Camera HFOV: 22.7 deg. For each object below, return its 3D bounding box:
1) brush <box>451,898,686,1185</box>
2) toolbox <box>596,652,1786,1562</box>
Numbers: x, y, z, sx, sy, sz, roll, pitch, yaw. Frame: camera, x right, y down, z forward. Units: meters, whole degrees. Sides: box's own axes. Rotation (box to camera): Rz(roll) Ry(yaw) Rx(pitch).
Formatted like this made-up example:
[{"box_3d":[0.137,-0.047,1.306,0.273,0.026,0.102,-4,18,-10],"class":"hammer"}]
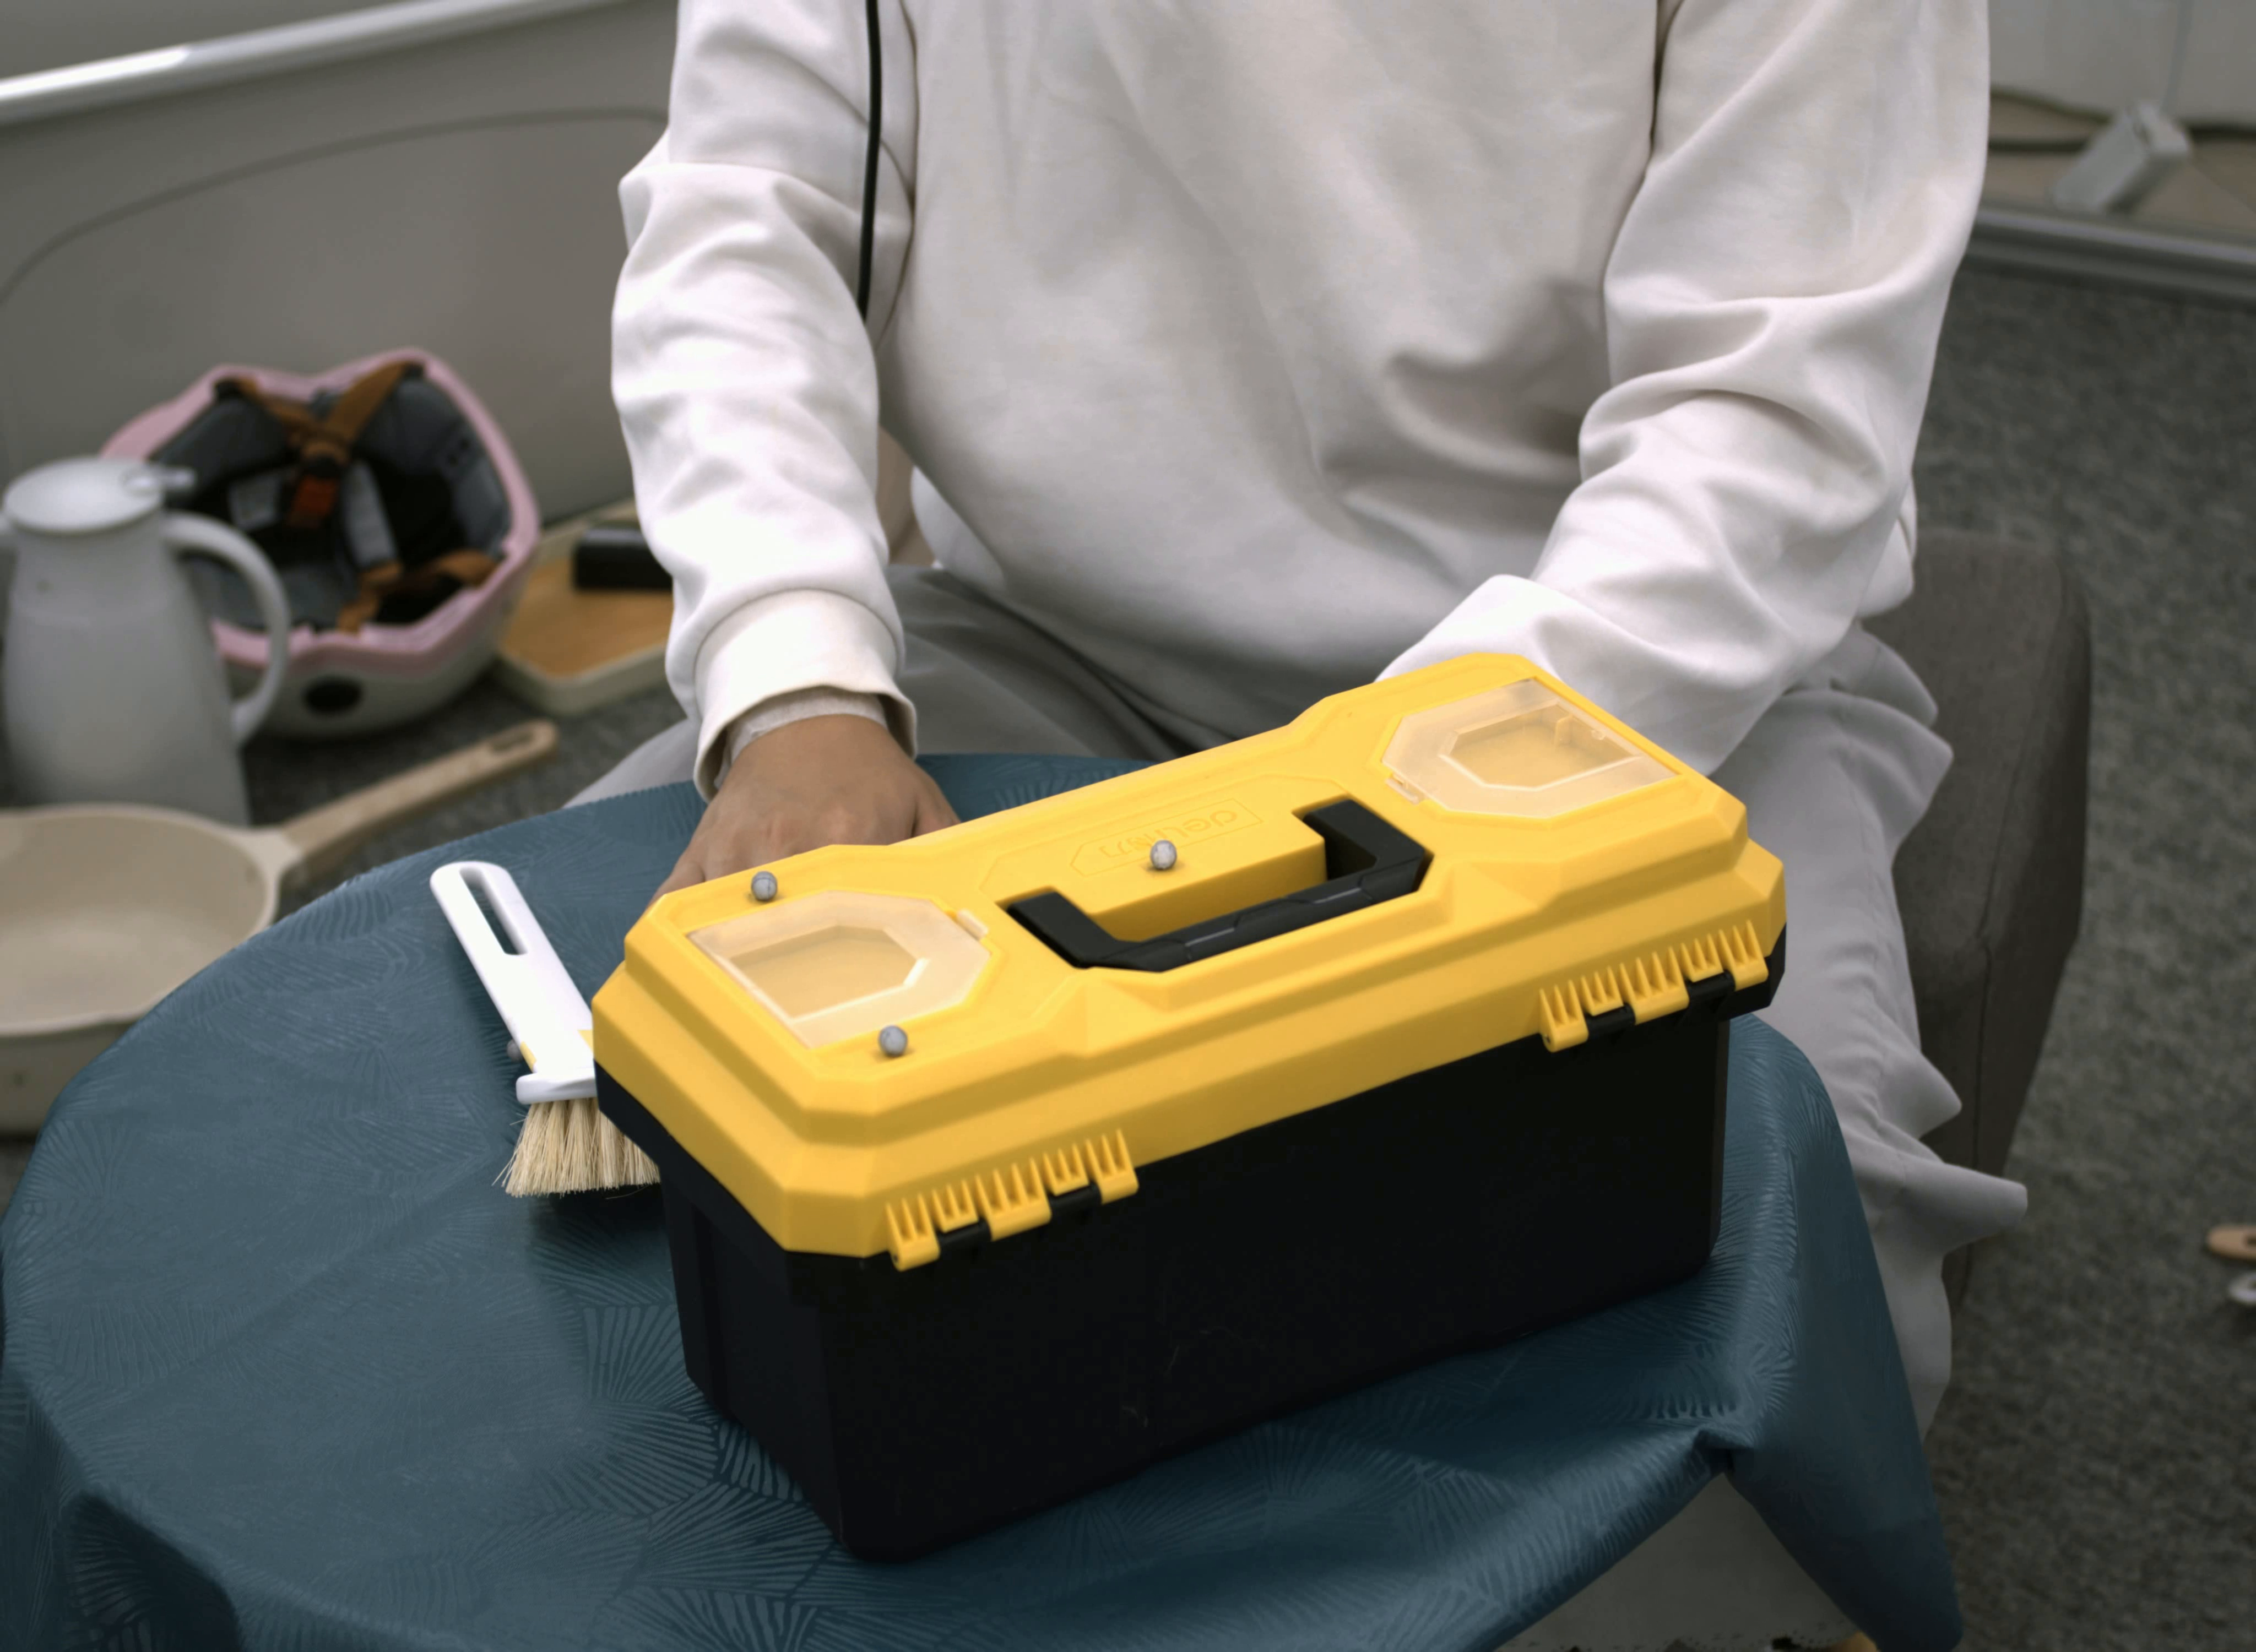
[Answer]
[{"box_3d":[-0.199,0.077,1.954,0.068,0.056,0.266,9,7,-21],"class":"brush"},{"box_3d":[0.022,0.083,1.752,0.353,0.171,0.182,-16,30,-26],"class":"toolbox"}]
